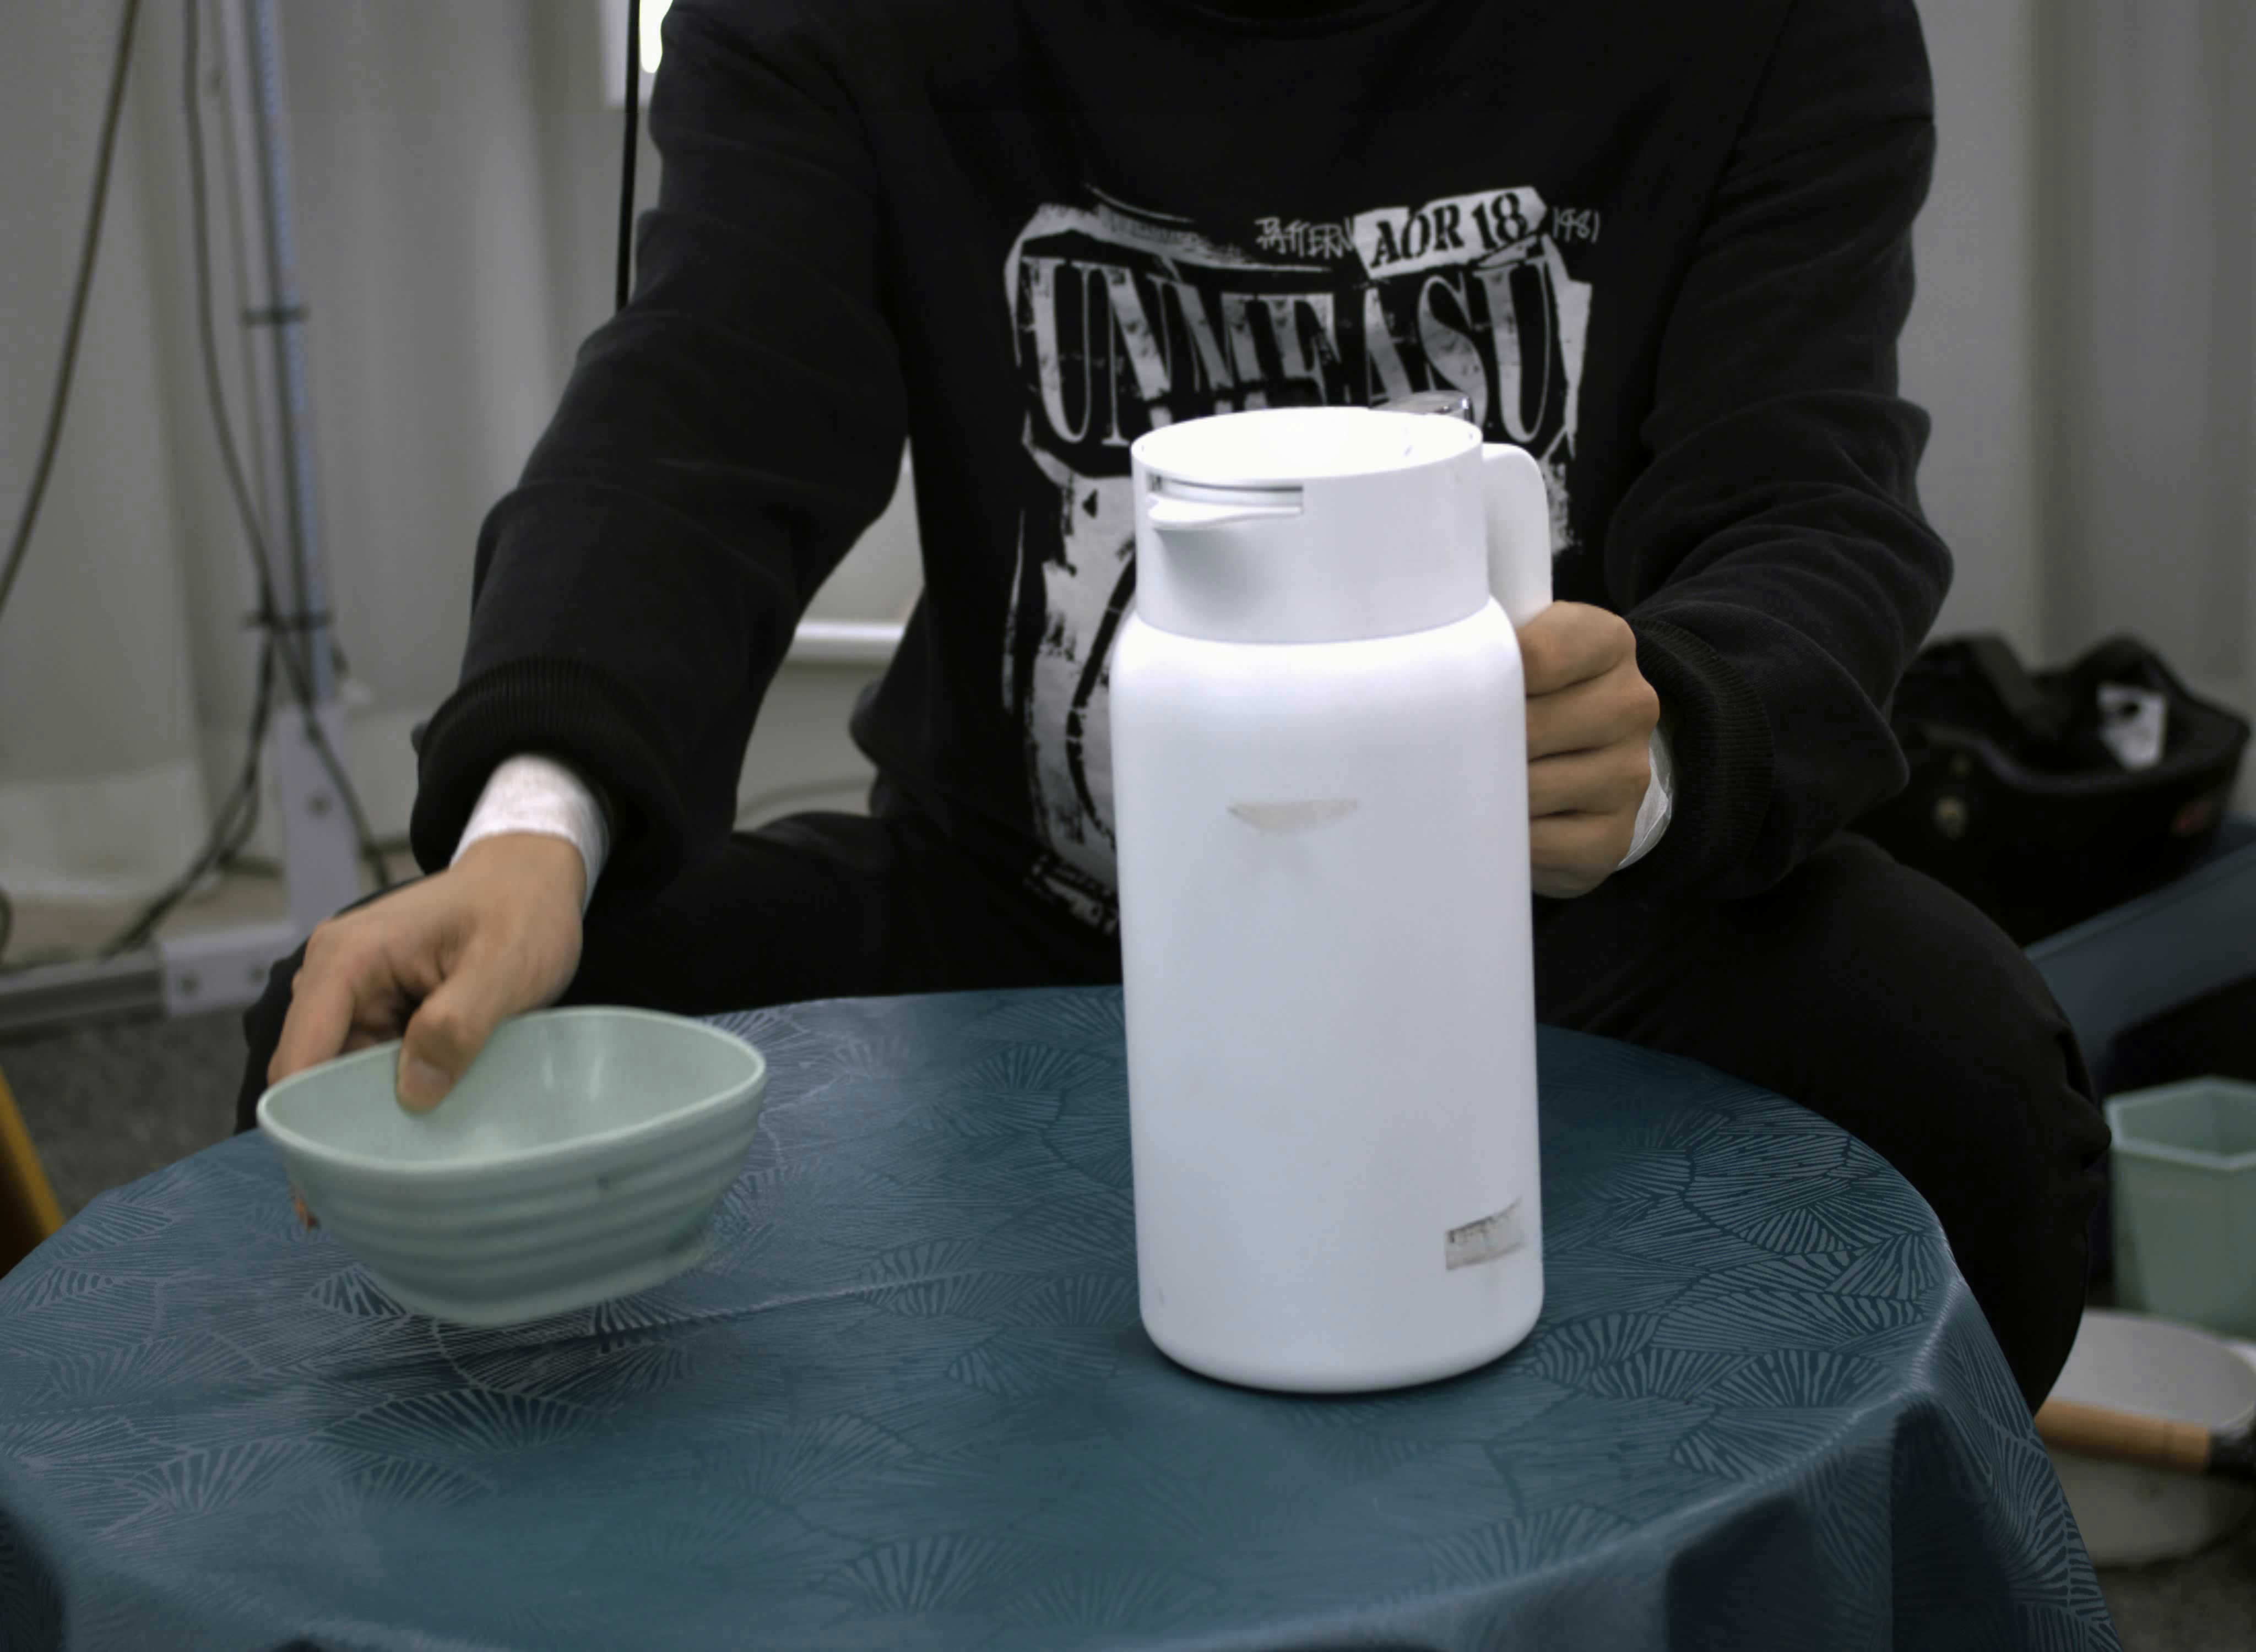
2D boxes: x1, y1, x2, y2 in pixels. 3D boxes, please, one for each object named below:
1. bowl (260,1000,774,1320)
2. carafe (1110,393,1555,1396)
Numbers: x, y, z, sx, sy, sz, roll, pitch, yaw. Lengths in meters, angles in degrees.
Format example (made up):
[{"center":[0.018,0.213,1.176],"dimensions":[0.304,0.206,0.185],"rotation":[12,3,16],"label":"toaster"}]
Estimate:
[{"center":[-0.174,0.100,1.582],"dimensions":[0.151,0.058,0.152],"rotation":[-5,14,1],"label":"bowl"},{"center":[0.065,0.015,1.563],"dimensions":[0.124,0.268,0.173],"rotation":[5,16,35],"label":"carafe"}]
